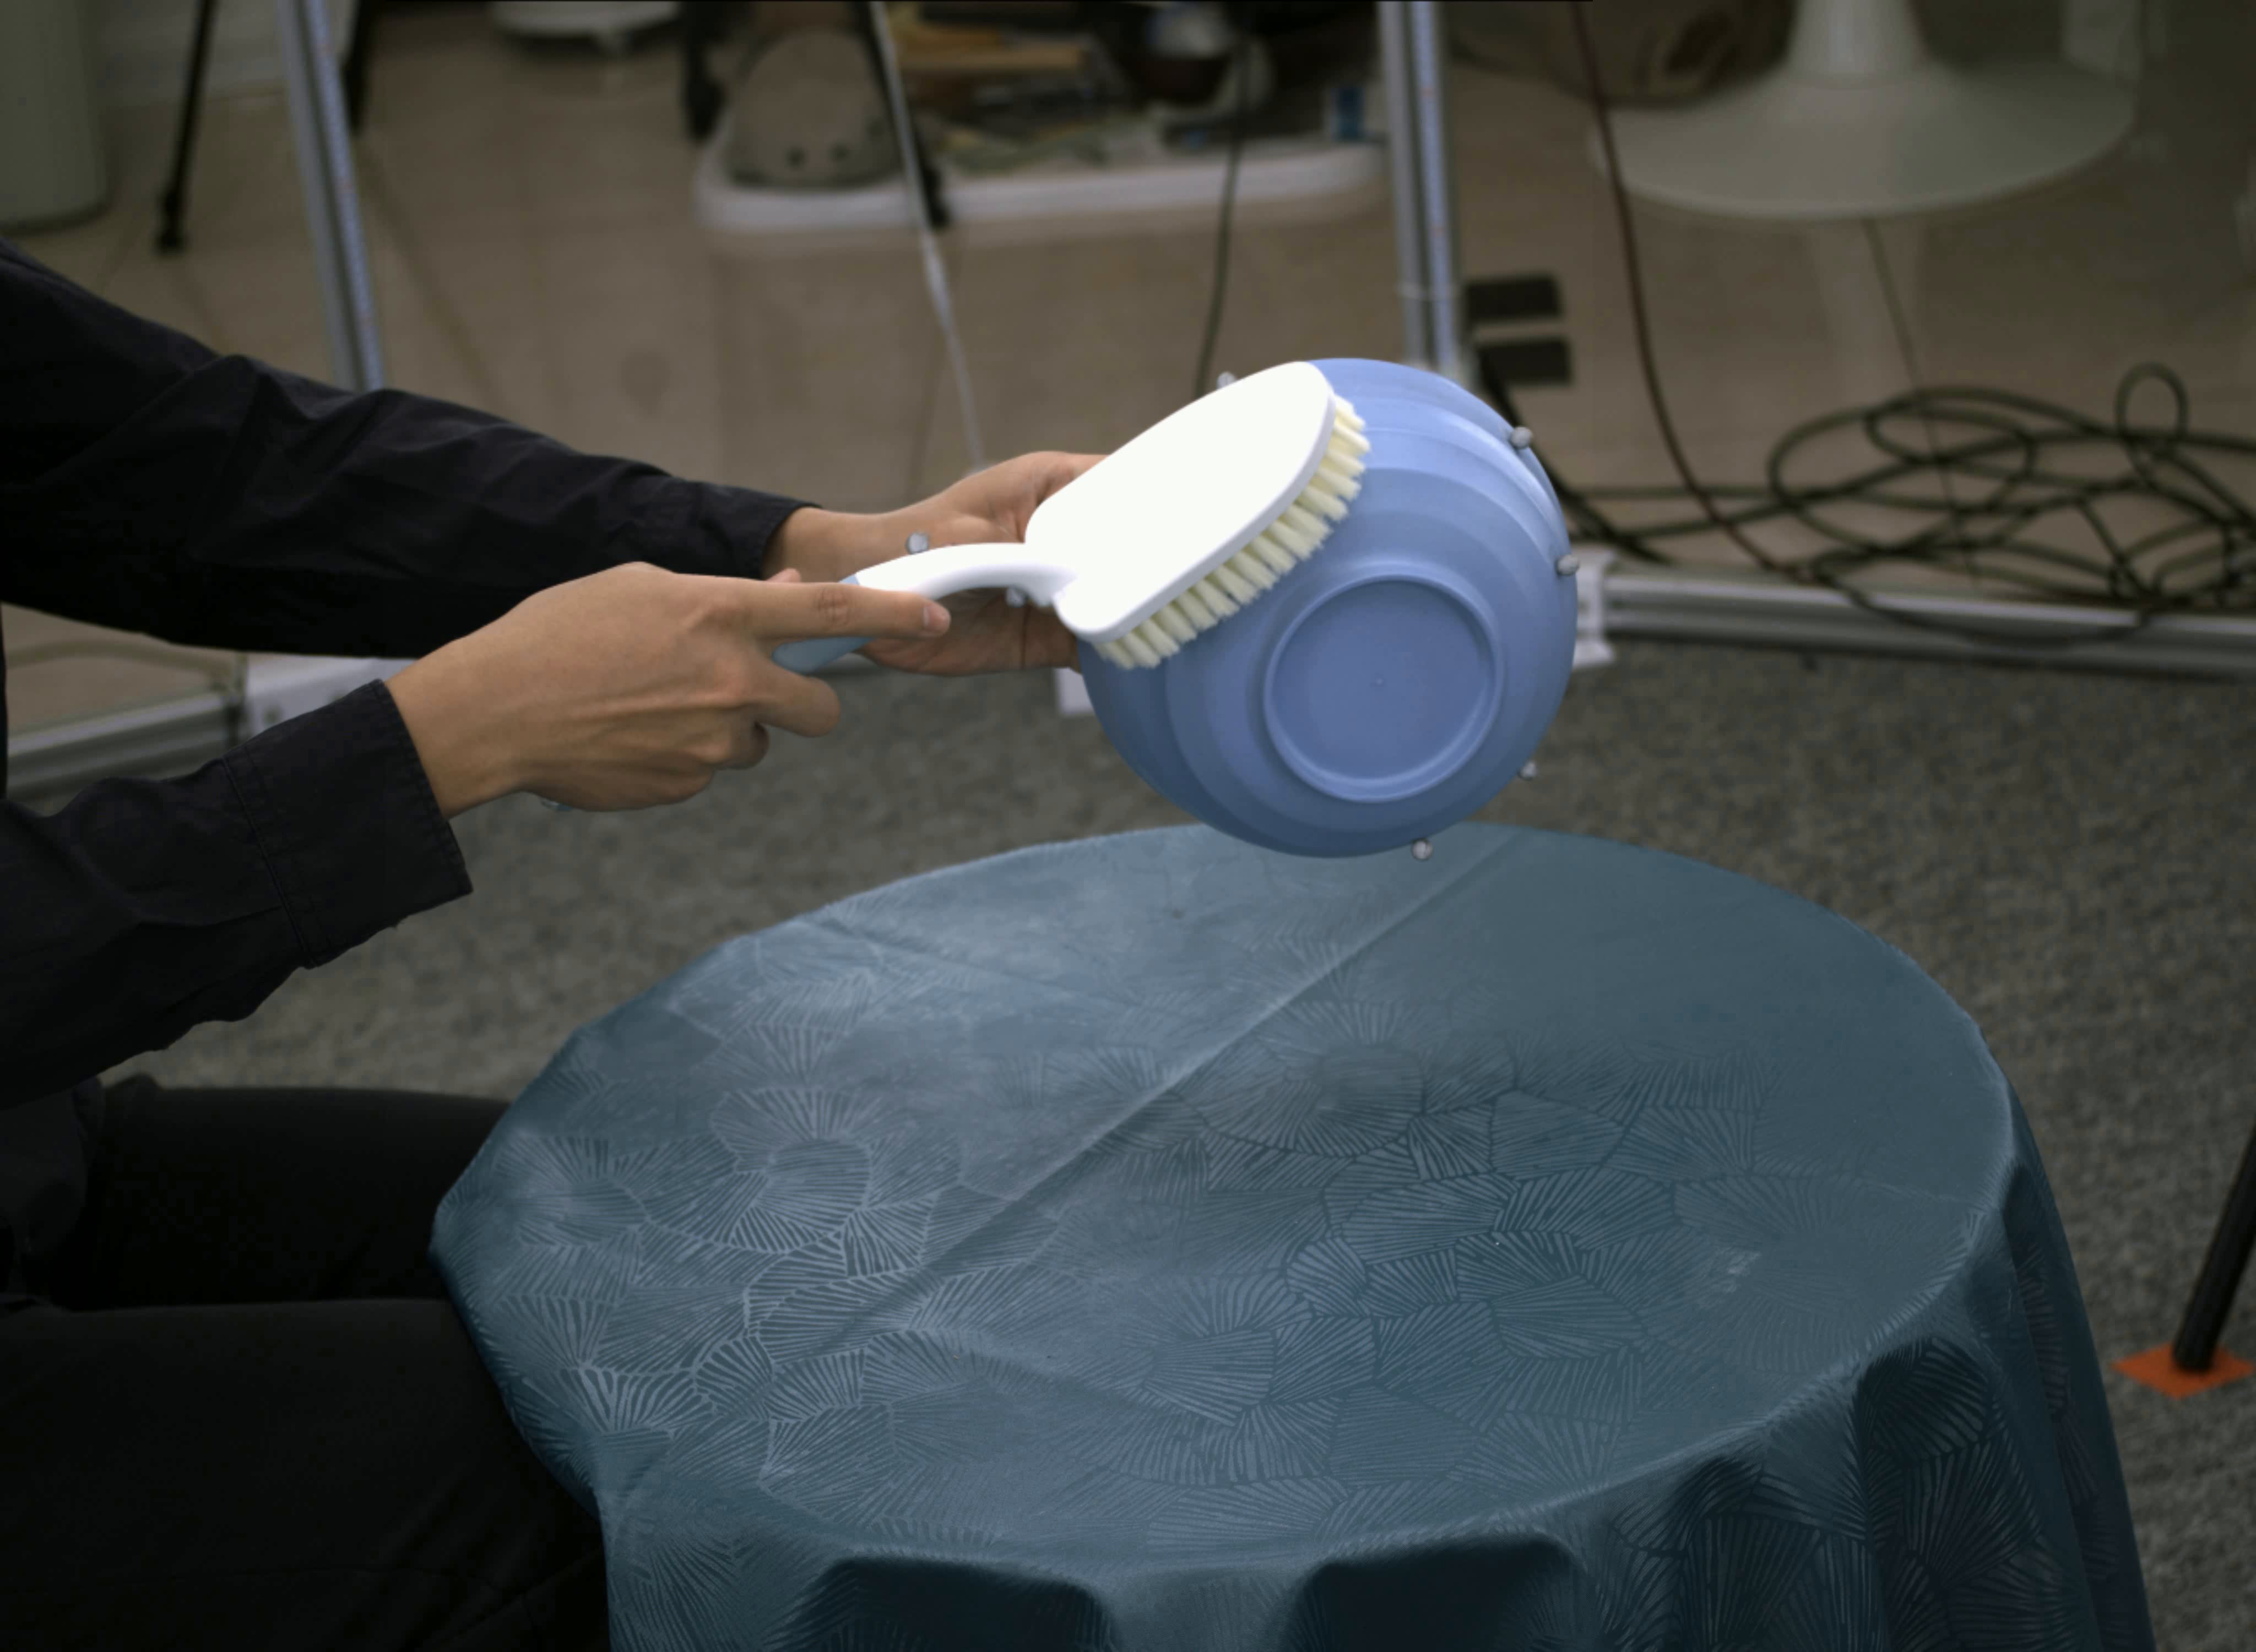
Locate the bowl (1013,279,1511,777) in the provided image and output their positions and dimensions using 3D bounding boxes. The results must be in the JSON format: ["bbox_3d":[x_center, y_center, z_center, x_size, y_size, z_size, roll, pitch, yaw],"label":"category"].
[{"bbox_3d":[0.061,-0.100,2.139,0.196,0.200,0.094,-11,26,-9],"label":"bowl"}]

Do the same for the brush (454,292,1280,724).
[{"bbox_3d":[-0.093,-0.102,2.076,0.325,0.085,0.082,-26,17,0],"label":"brush"}]
